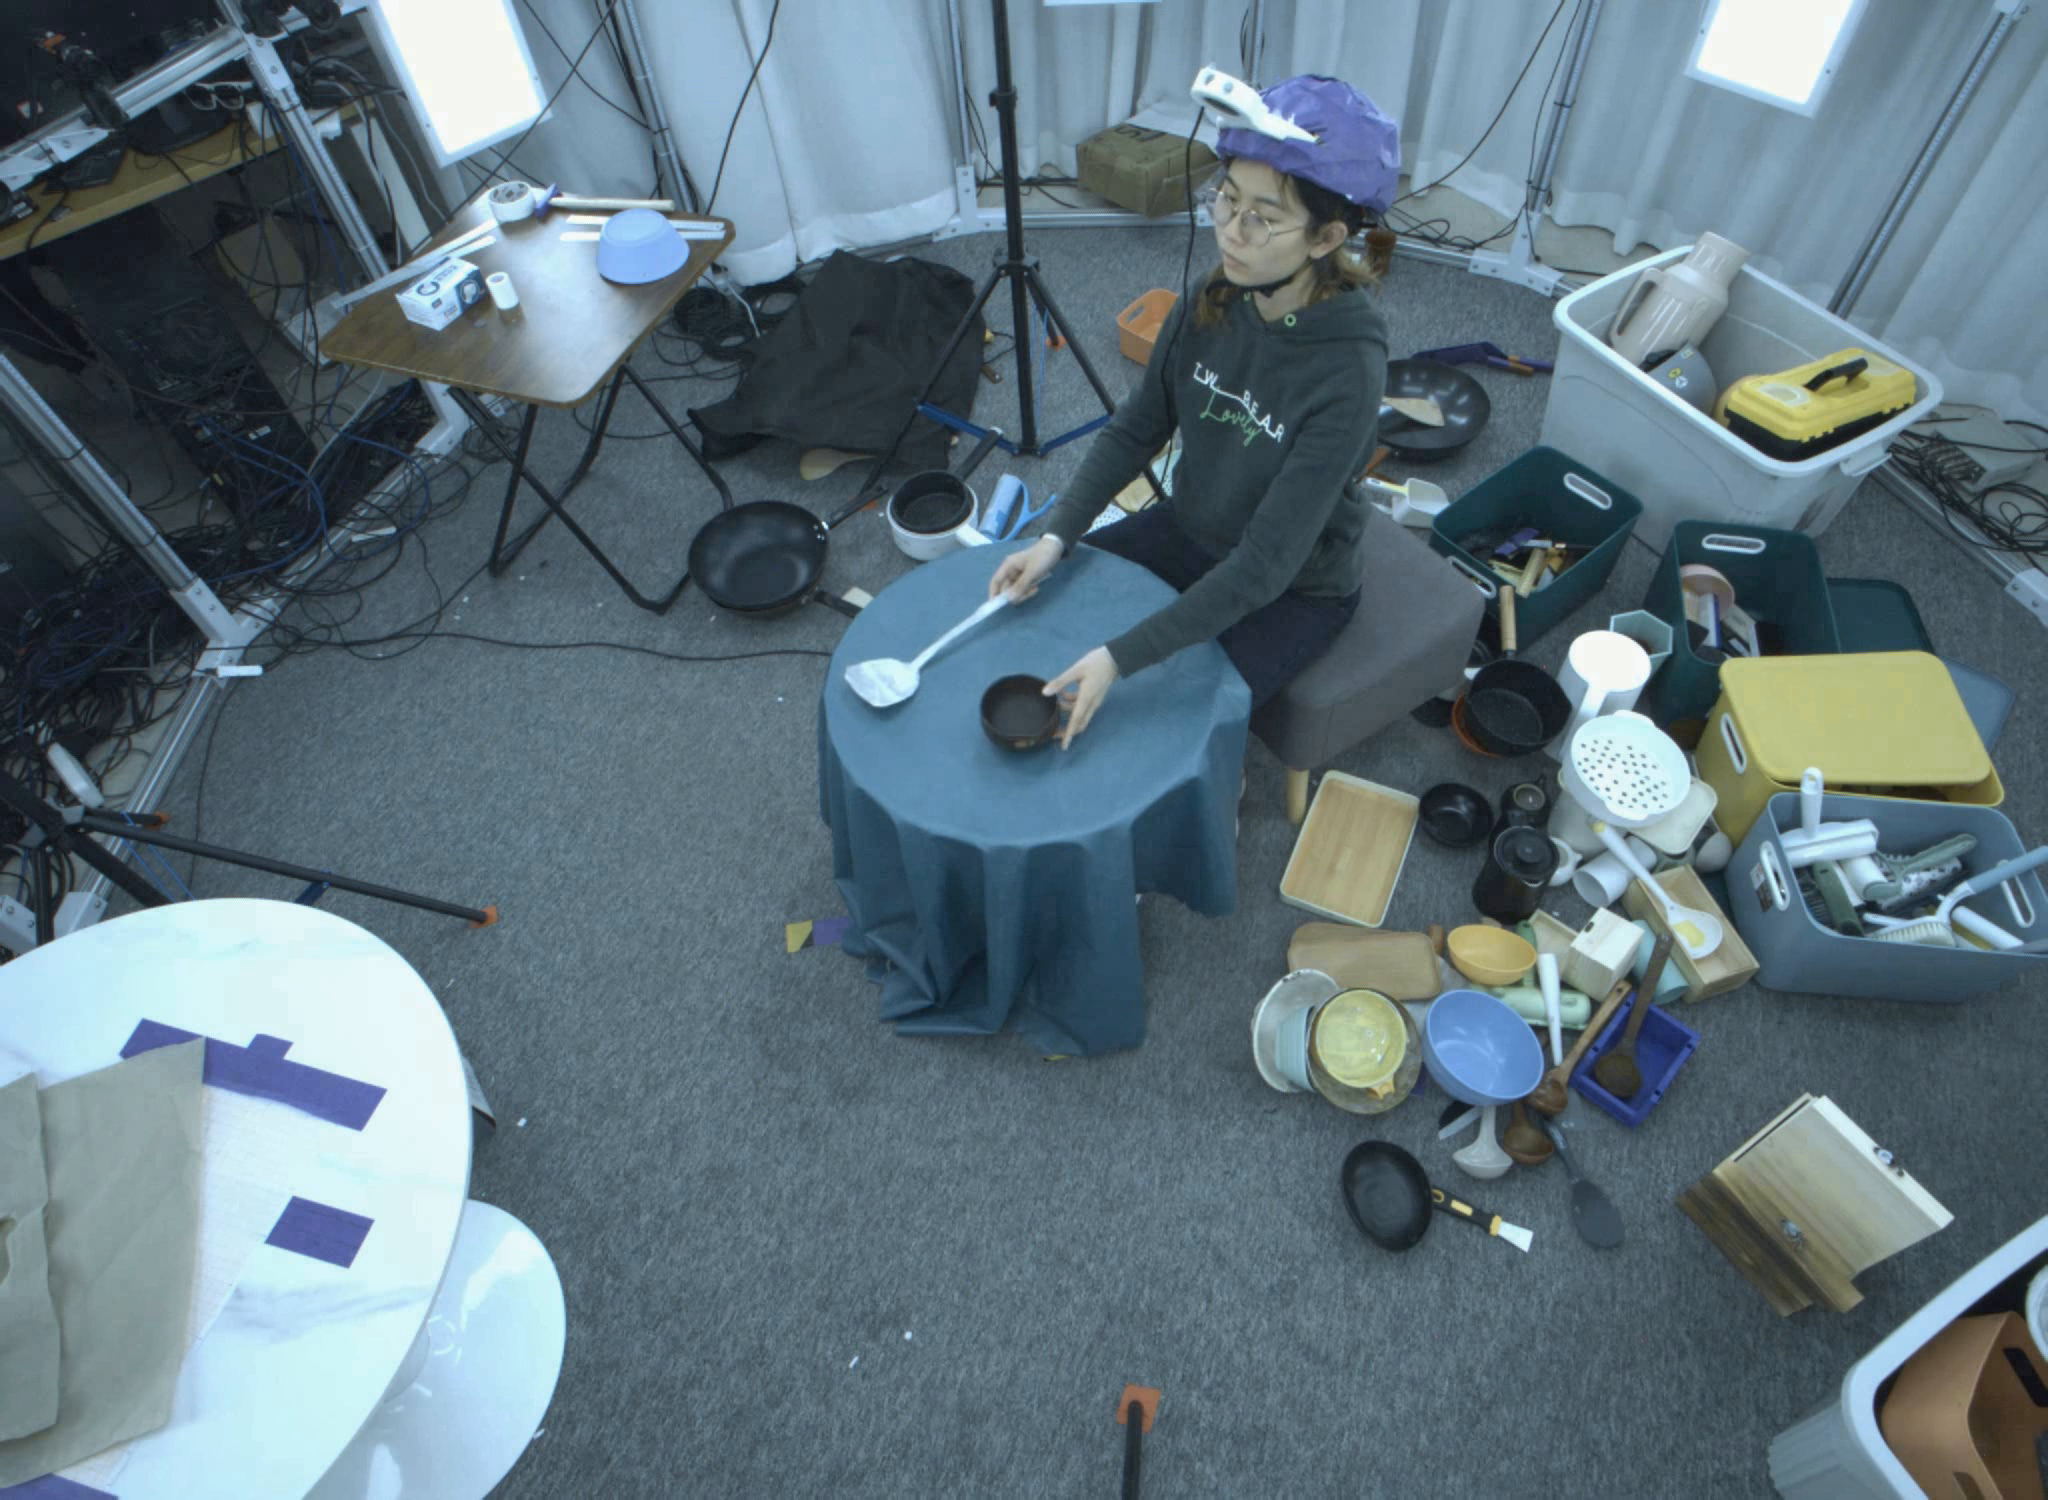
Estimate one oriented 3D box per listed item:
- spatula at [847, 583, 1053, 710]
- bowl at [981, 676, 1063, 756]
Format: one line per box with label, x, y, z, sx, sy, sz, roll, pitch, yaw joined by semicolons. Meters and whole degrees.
spatula;-0.105;-0.175;1.890;0.367;0.045;0.097;-37;61;-16
bowl;-0.003;-0.042;1.783;0.118;0.070;0.117;1;55;0
